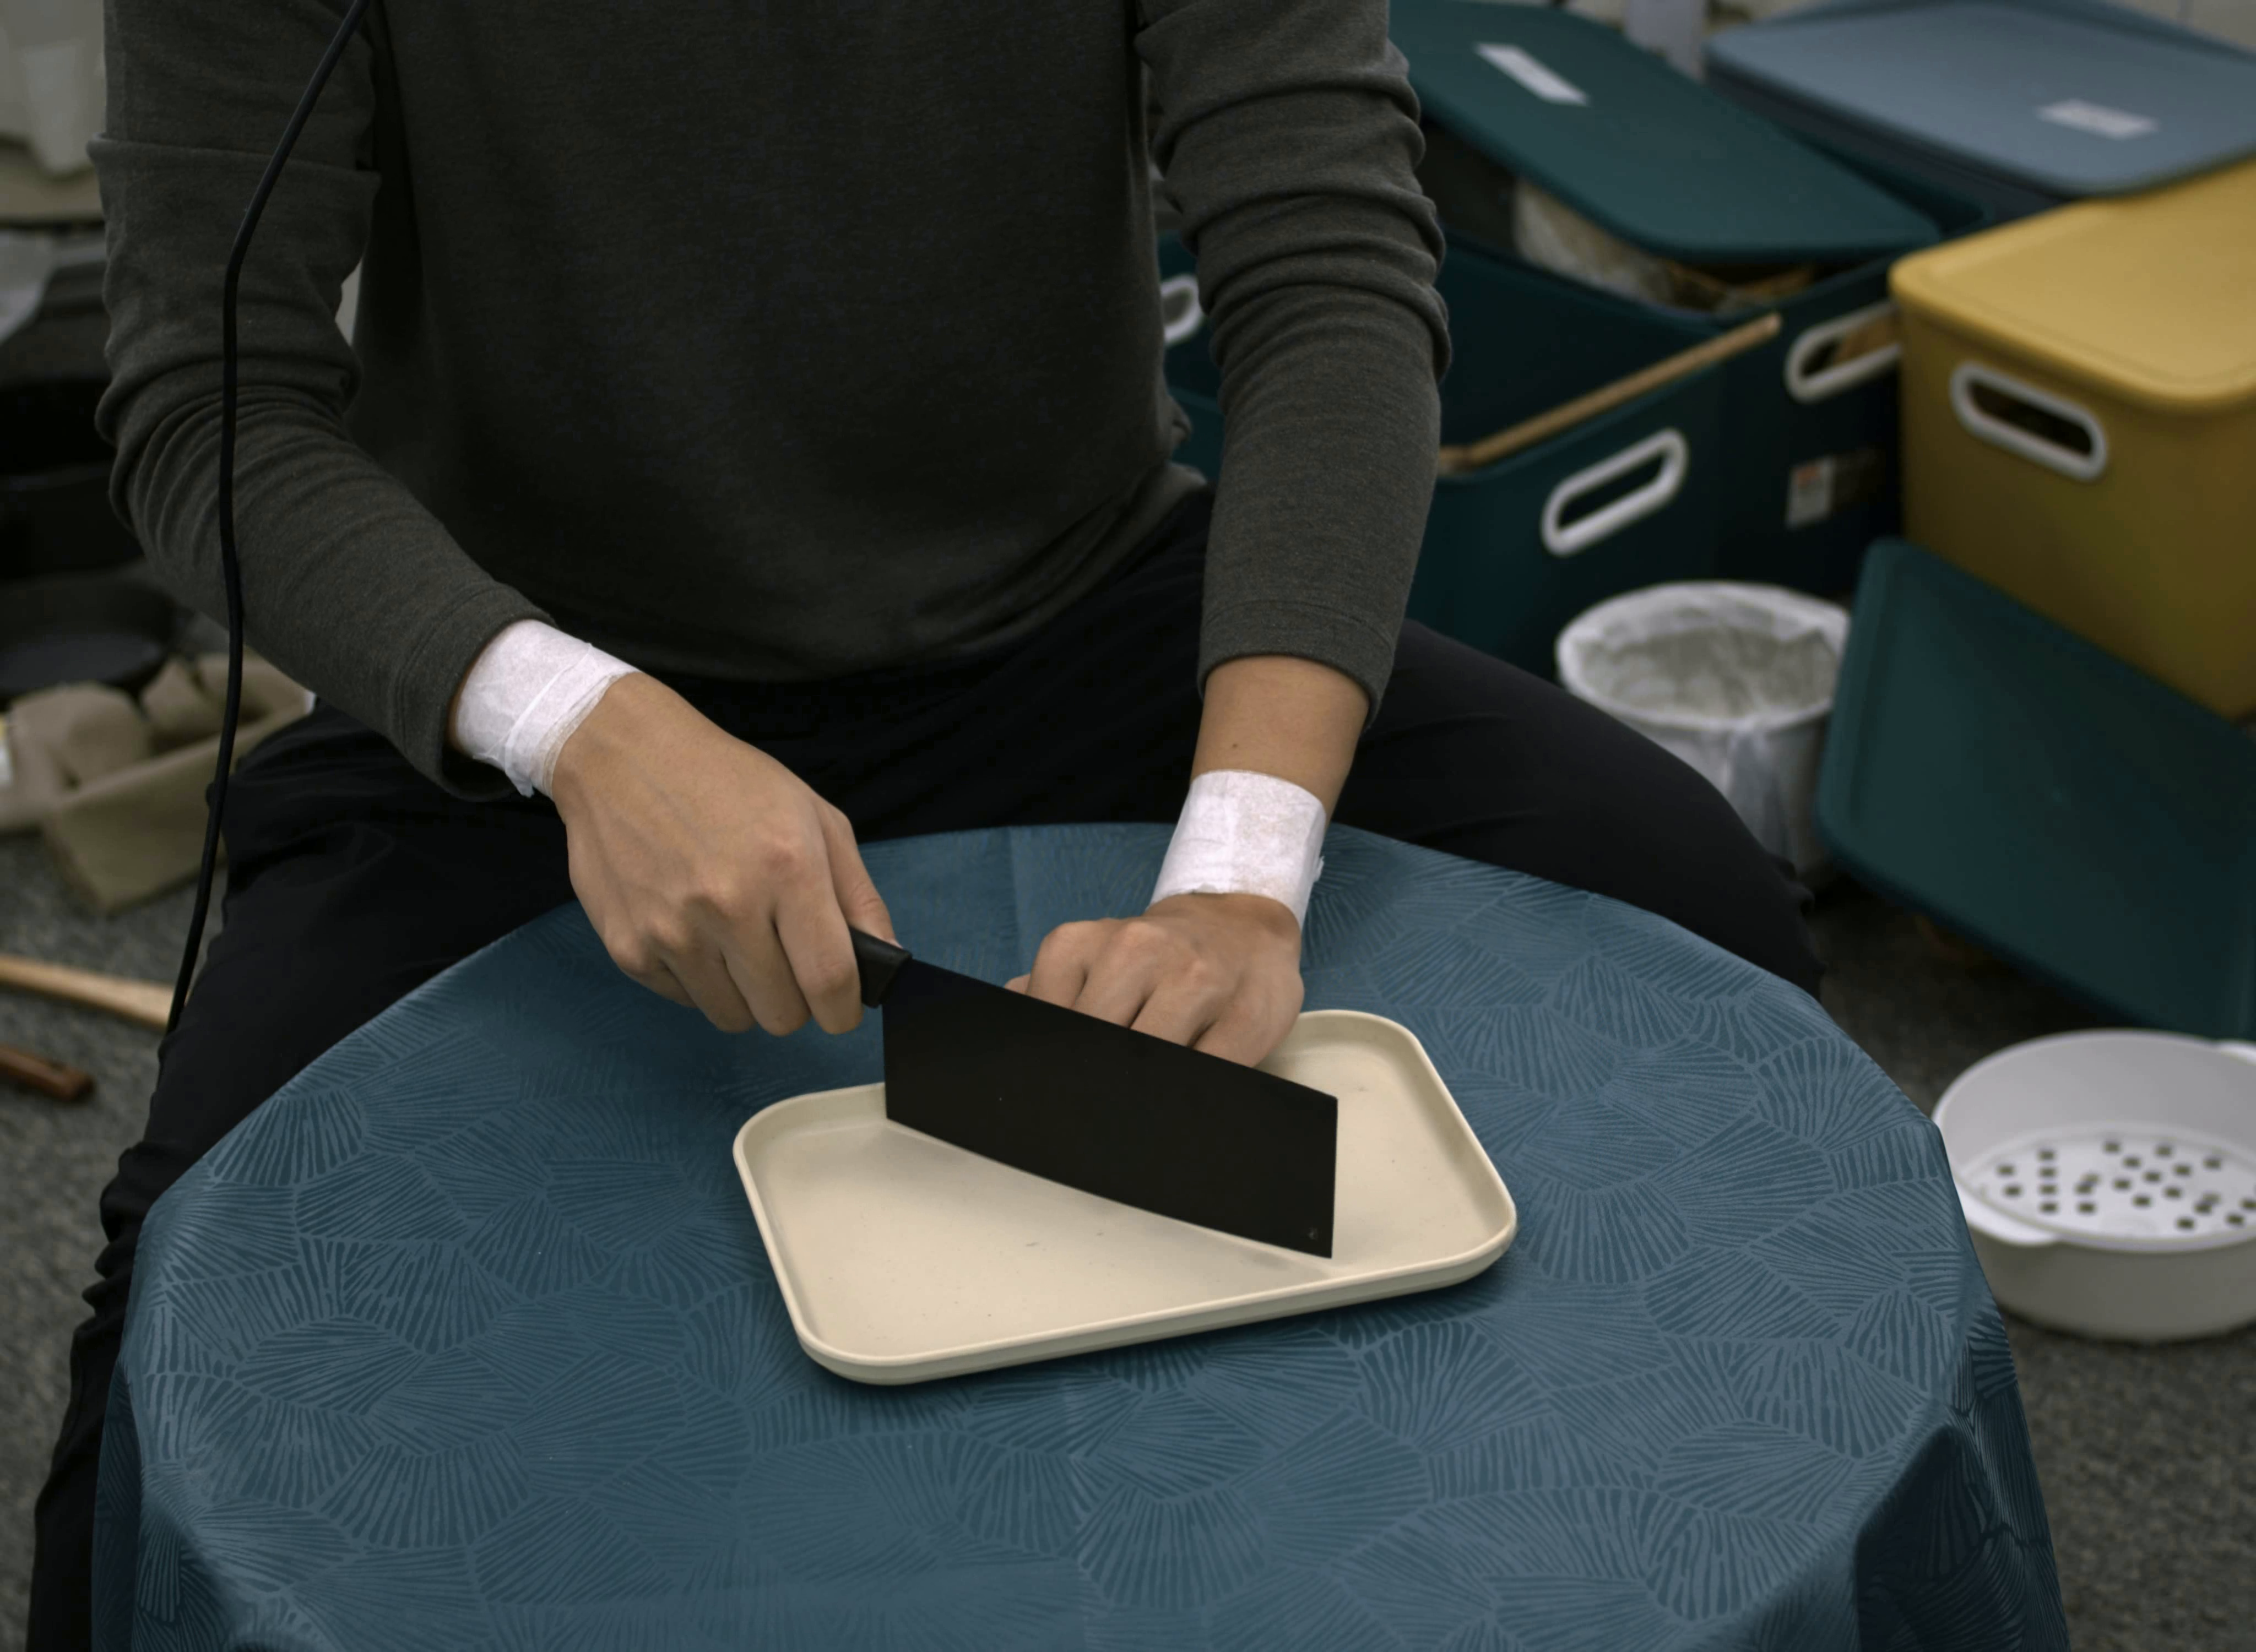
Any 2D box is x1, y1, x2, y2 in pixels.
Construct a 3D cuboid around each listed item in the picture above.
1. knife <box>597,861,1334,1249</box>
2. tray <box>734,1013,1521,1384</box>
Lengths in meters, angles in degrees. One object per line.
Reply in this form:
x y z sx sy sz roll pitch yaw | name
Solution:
-0.057 0.072 1.867 0.301 0.080 0.021 21 30 29 | knife
-0.002 0.122 1.842 0.239 0.017 0.173 -9 27 -12 | tray
